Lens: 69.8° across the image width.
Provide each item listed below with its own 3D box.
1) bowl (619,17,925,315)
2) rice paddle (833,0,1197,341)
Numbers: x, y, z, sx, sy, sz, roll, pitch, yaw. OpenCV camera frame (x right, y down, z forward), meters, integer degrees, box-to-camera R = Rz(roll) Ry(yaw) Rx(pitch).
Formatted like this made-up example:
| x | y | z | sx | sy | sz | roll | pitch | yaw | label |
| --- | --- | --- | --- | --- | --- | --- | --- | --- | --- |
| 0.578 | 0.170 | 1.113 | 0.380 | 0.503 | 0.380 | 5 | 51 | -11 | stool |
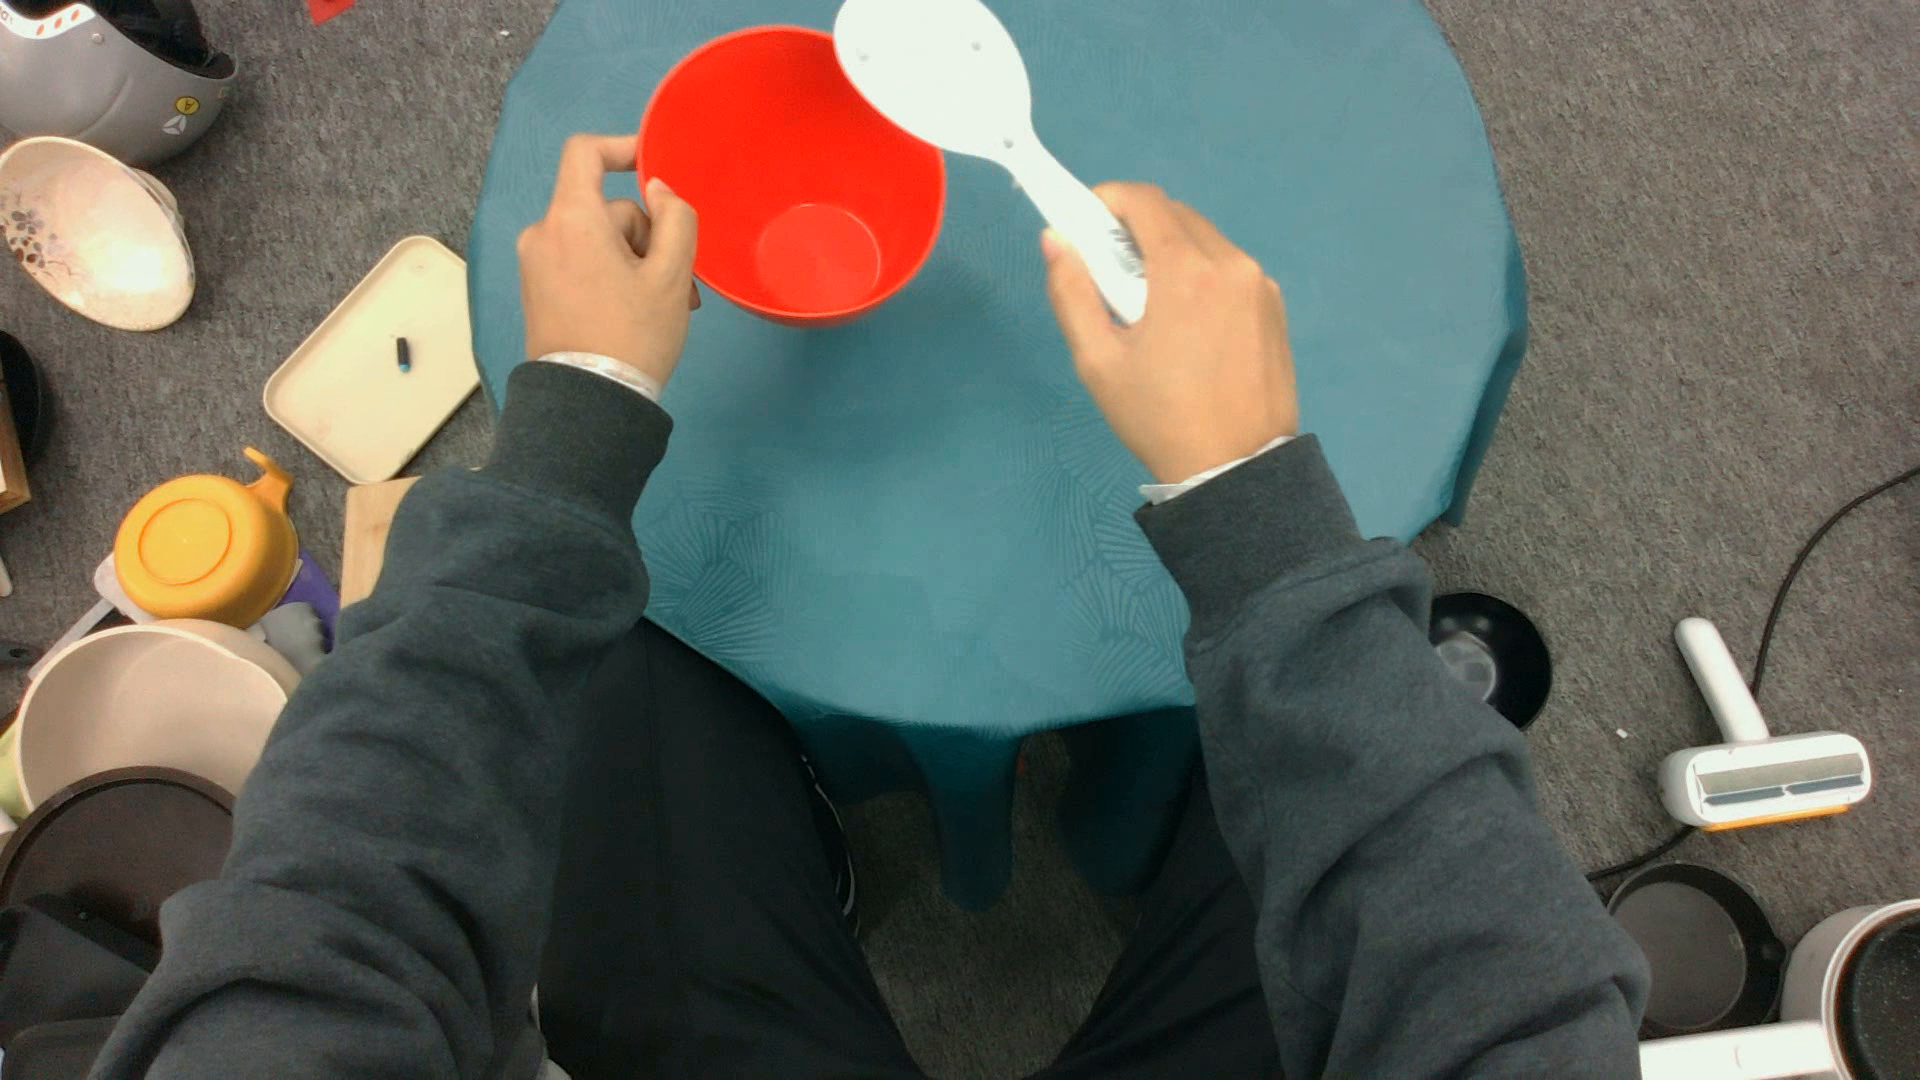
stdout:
| x | y | z | sx | sy | sz | roll | pitch | yaw | label |
| --- | --- | --- | --- | --- | --- | --- | --- | --- | --- |
| -0.094 | -0.176 | 0.707 | 0.148 | 0.104 | 0.148 | 2 | 76 | -7 | bowl |
| 0.022 | -0.171 | 0.587 | 0.069 | 0.029 | 0.205 | -39 | 84 | -16 | rice paddle |
